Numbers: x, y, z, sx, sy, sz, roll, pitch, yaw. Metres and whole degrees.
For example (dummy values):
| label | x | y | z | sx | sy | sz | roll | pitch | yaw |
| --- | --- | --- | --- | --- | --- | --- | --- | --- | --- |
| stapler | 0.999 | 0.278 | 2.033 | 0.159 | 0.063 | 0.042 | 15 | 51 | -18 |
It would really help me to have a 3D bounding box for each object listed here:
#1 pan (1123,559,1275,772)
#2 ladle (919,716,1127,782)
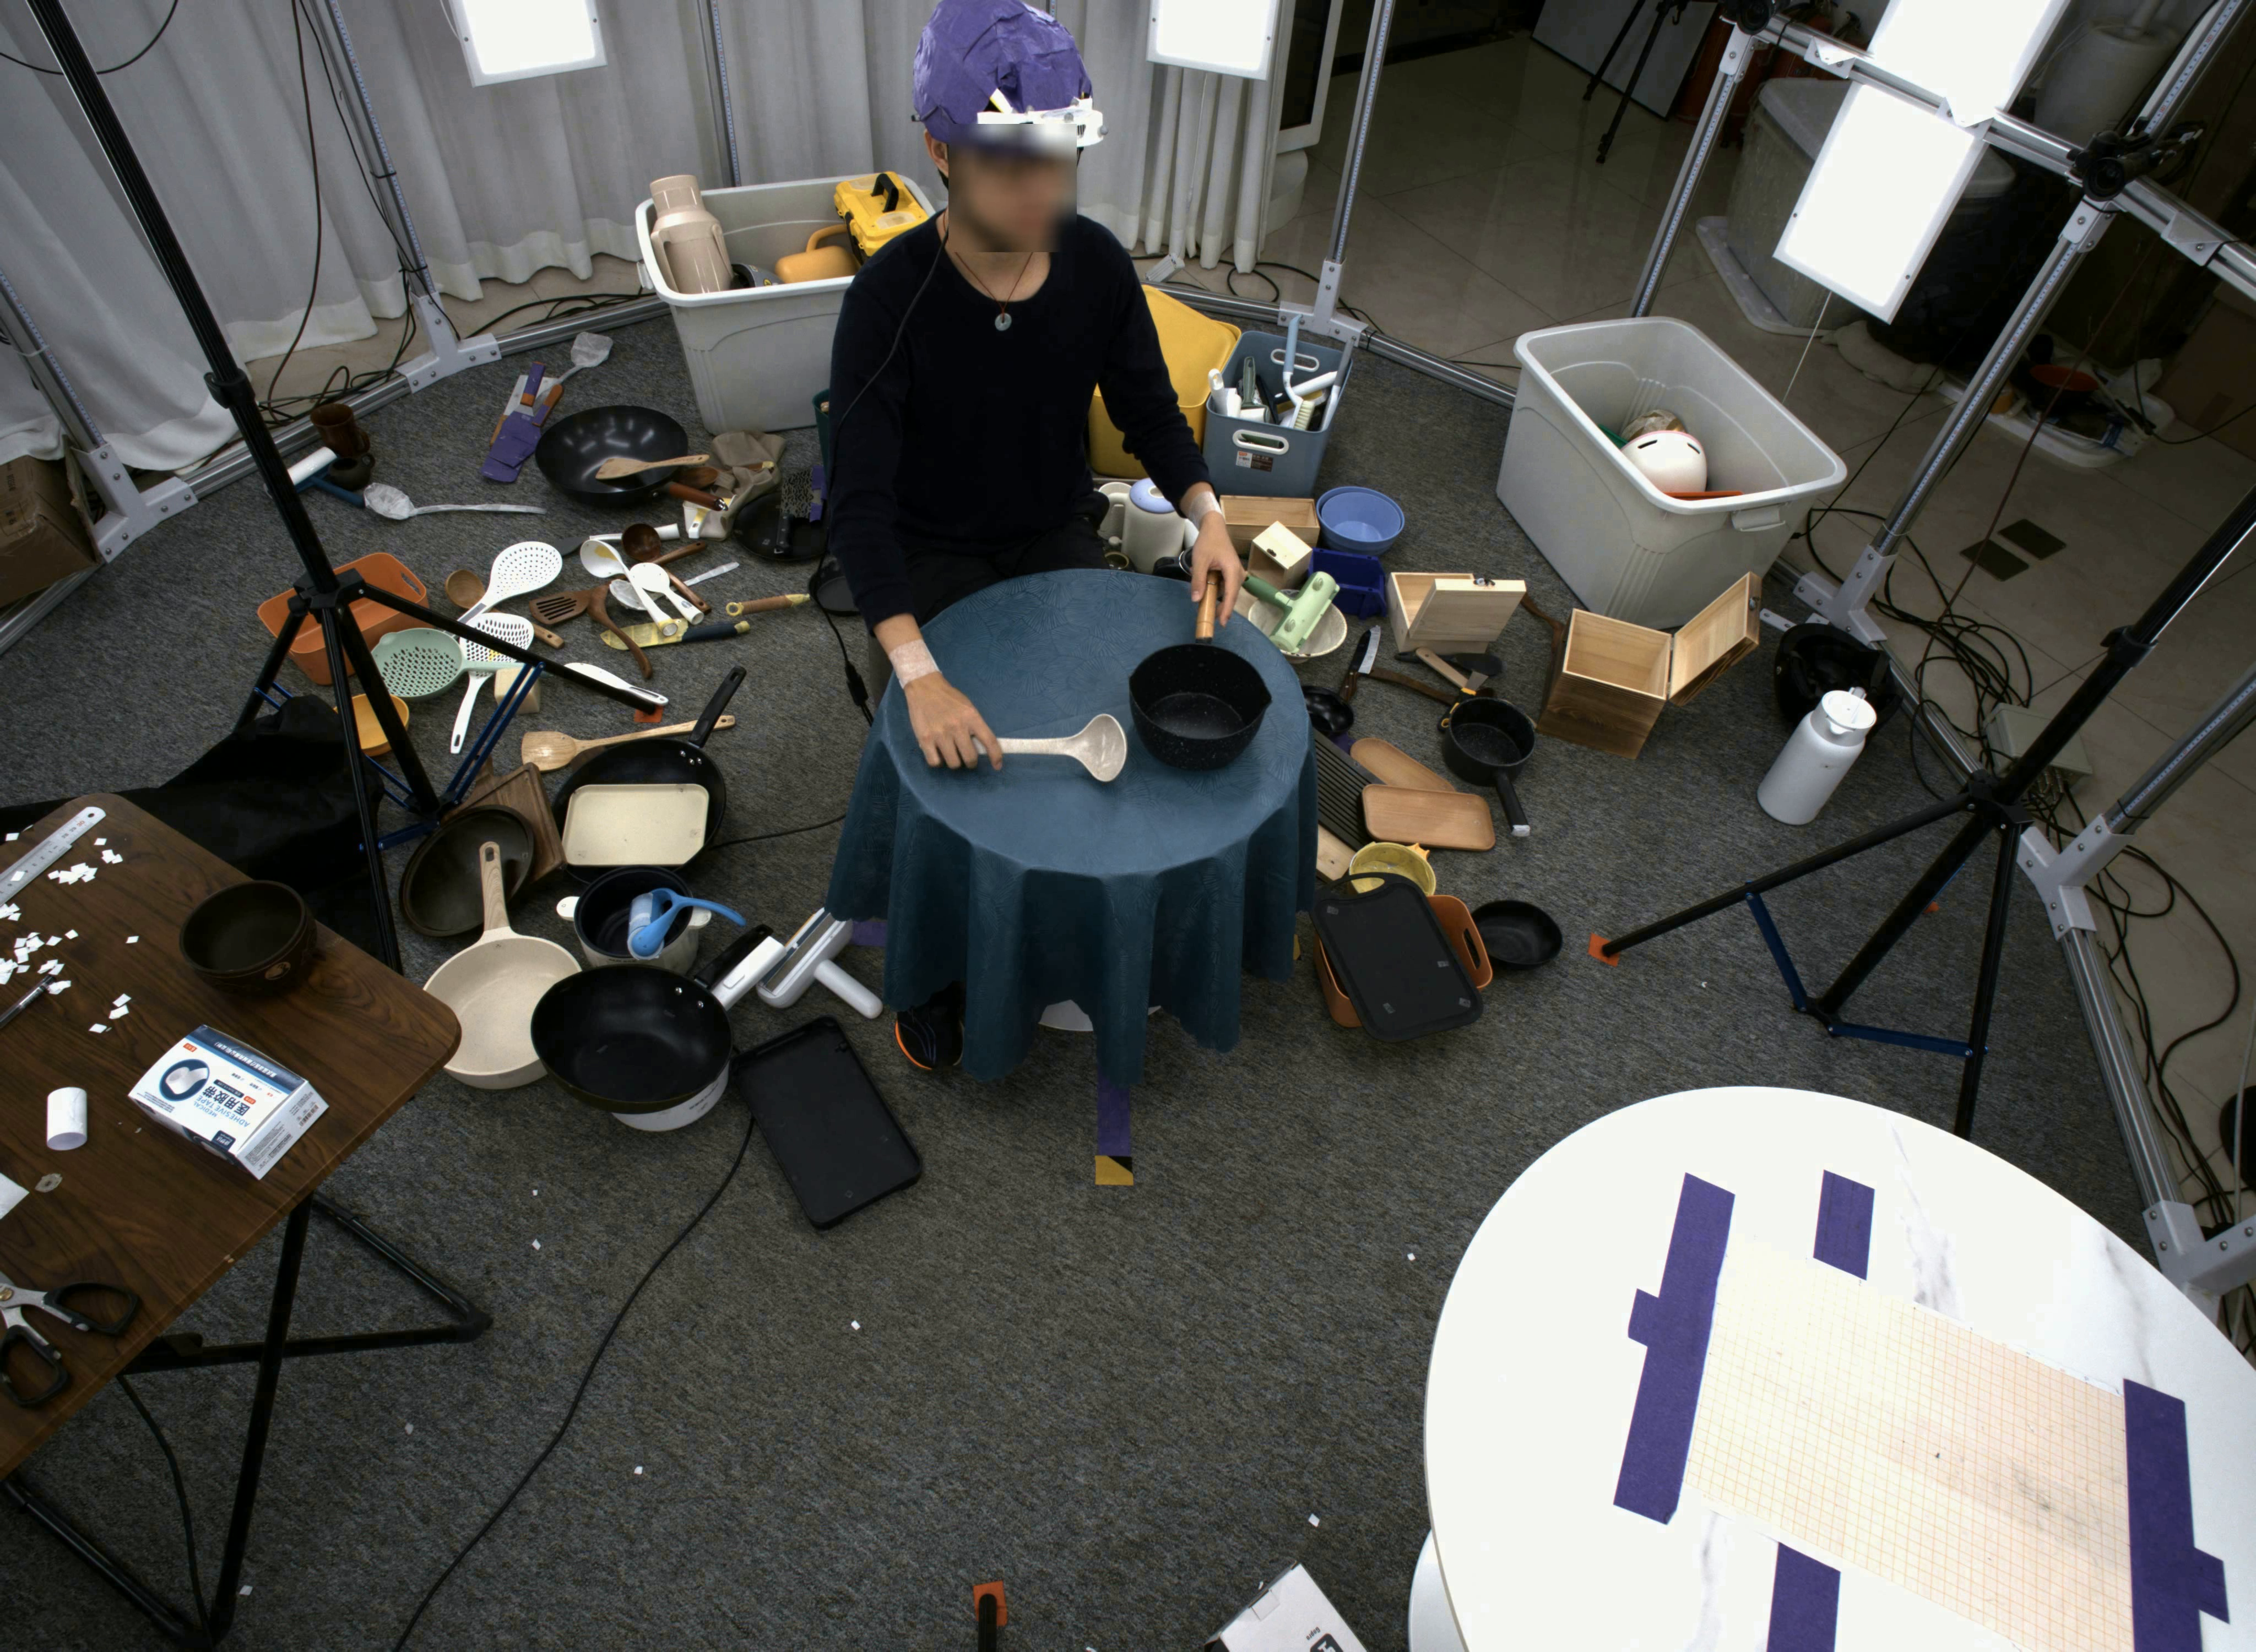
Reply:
| label | x | y | z | sx | sy | sz | roll | pitch | yaw |
| --- | --- | --- | --- | --- | --- | --- | --- | --- | --- |
| pan | 0.101 | -0.226 | 1.802 | 0.207 | 0.105 | 0.351 | 5 | 50 | 2 |
| ladle | -0.138 | -0.101 | 1.686 | 0.274 | 0.088 | 0.070 | -1 | 14 | -4 |
